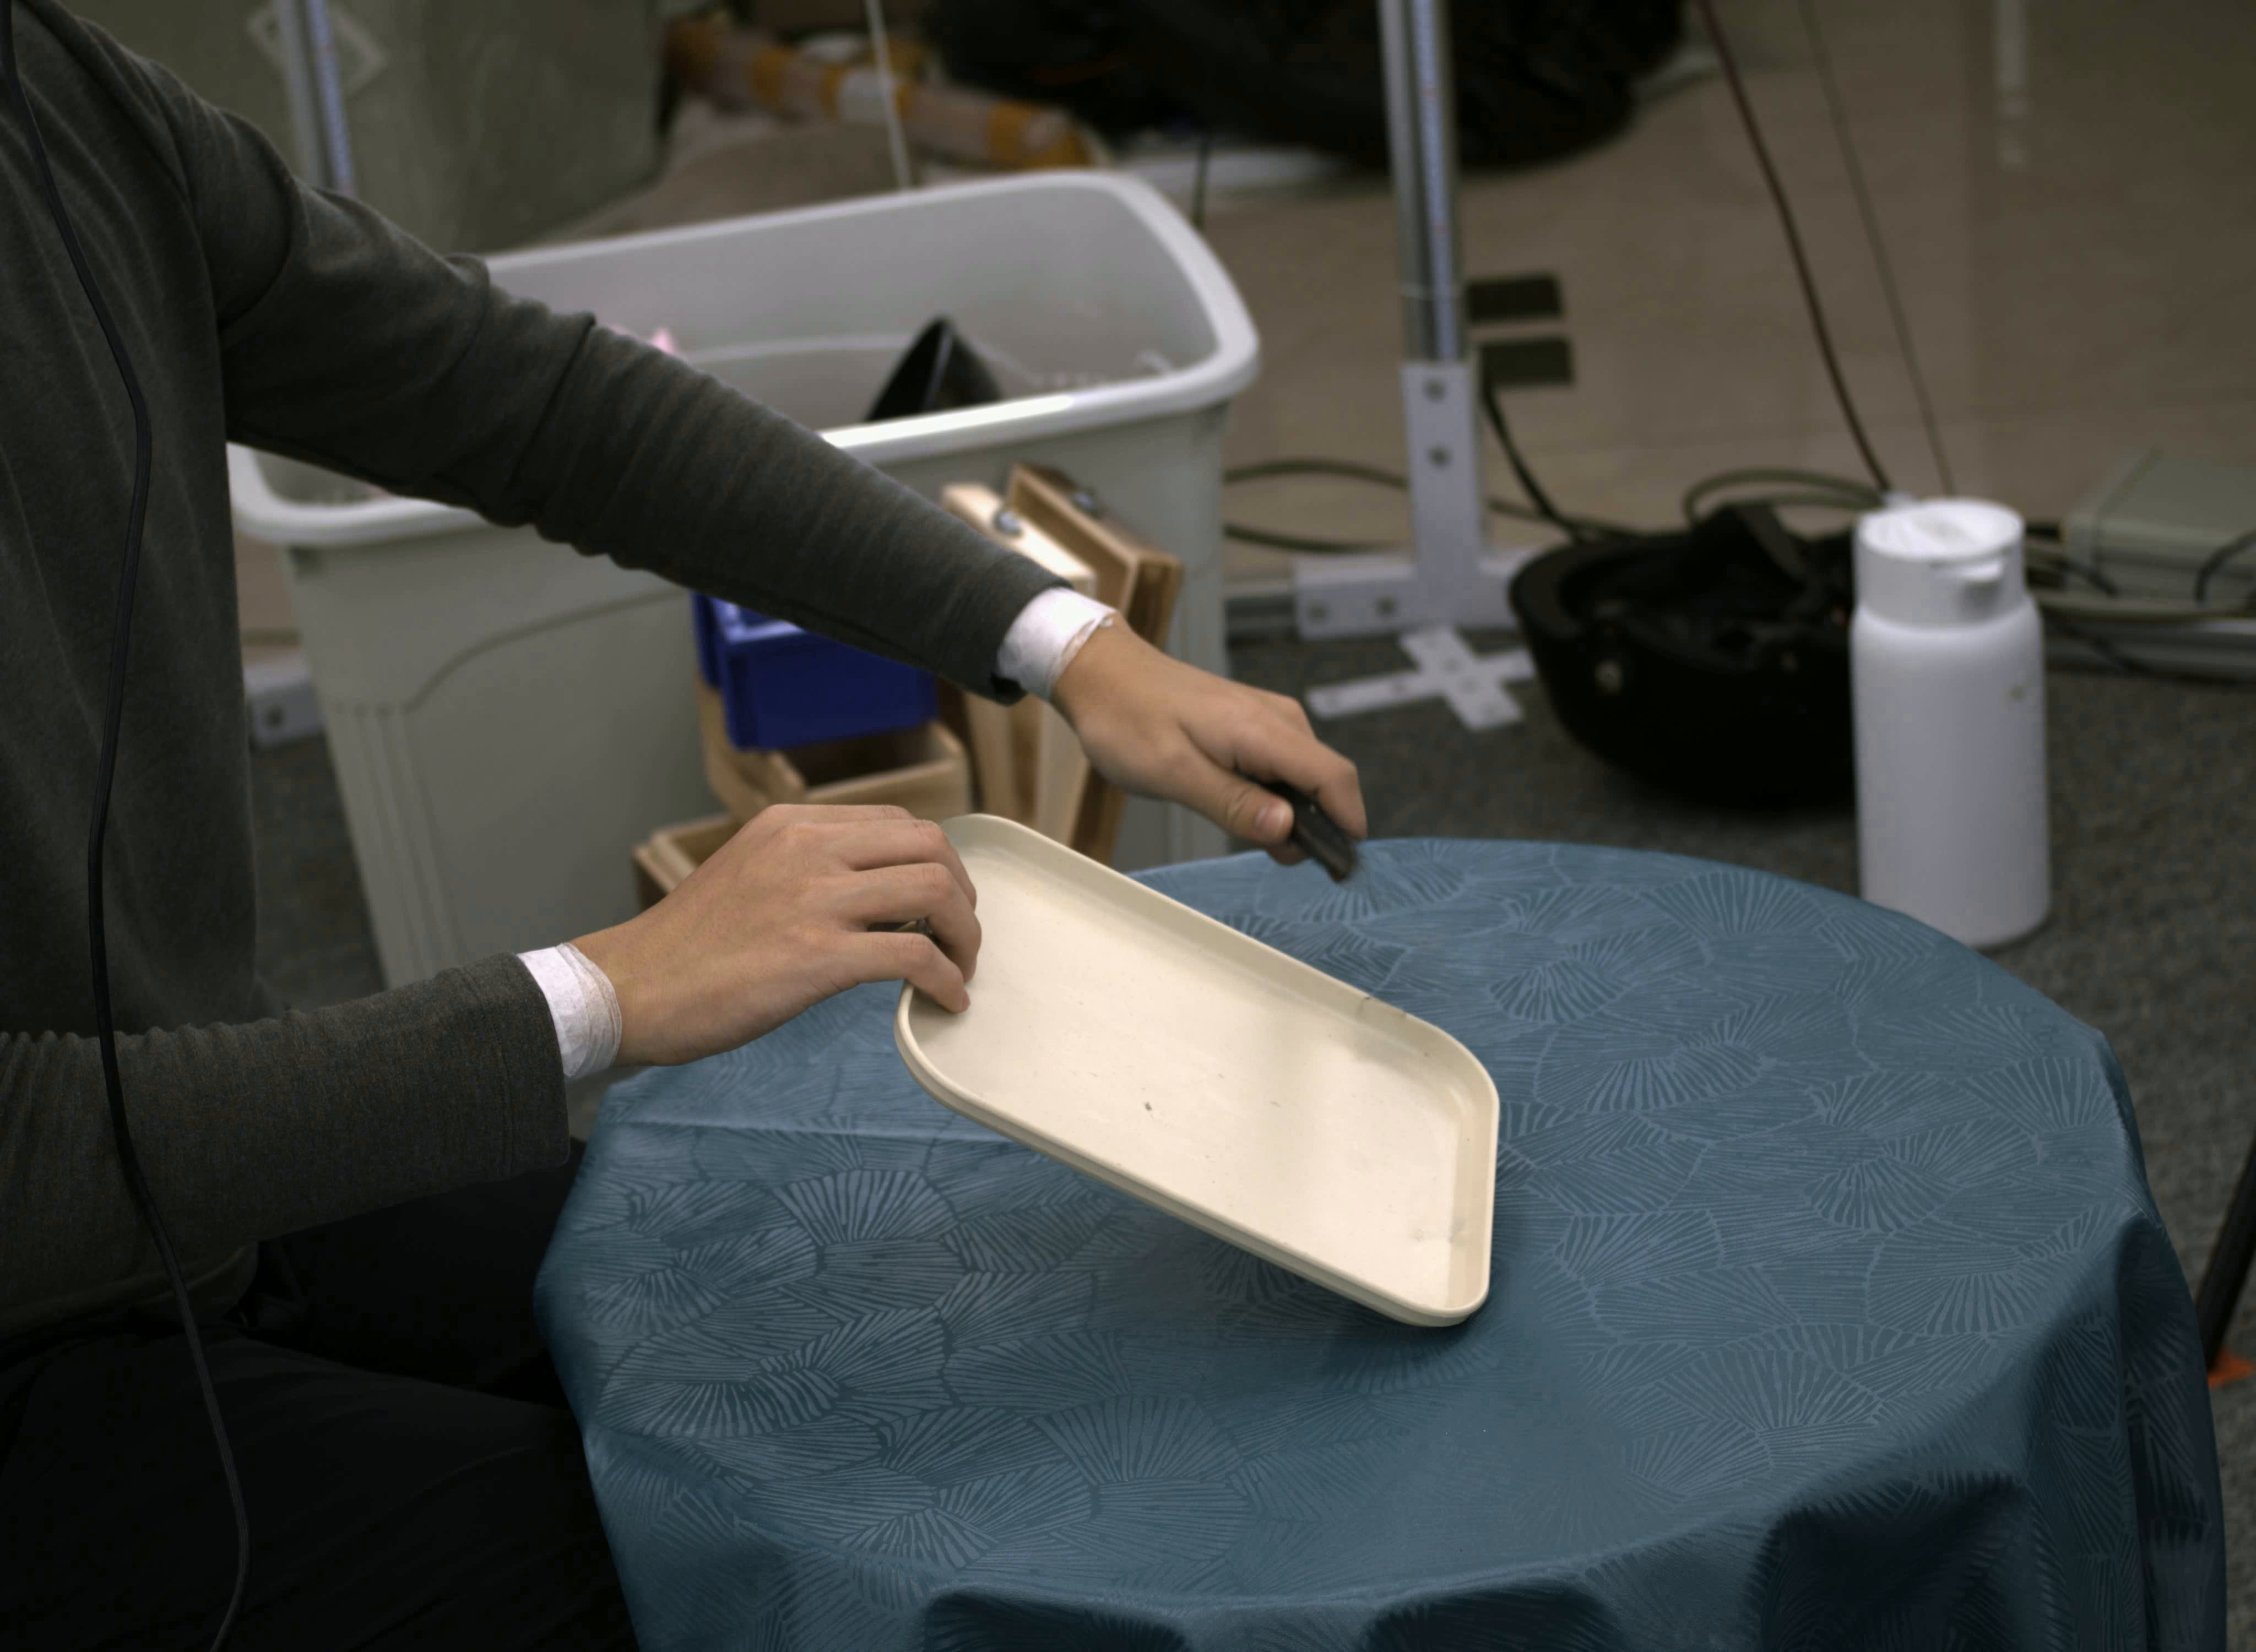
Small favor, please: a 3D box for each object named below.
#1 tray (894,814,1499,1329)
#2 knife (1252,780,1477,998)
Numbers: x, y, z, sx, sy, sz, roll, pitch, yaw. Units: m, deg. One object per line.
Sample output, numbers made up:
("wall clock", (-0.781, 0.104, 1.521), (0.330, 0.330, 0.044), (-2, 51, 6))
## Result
("tray", (0.026, 0.090, 2.065), (0.240, 0.018, 0.168), (26, 34, -12))
("knife", (0.090, 0.024, 2.174), (0.024, 0.016, 0.235), (20, 11, -23))
